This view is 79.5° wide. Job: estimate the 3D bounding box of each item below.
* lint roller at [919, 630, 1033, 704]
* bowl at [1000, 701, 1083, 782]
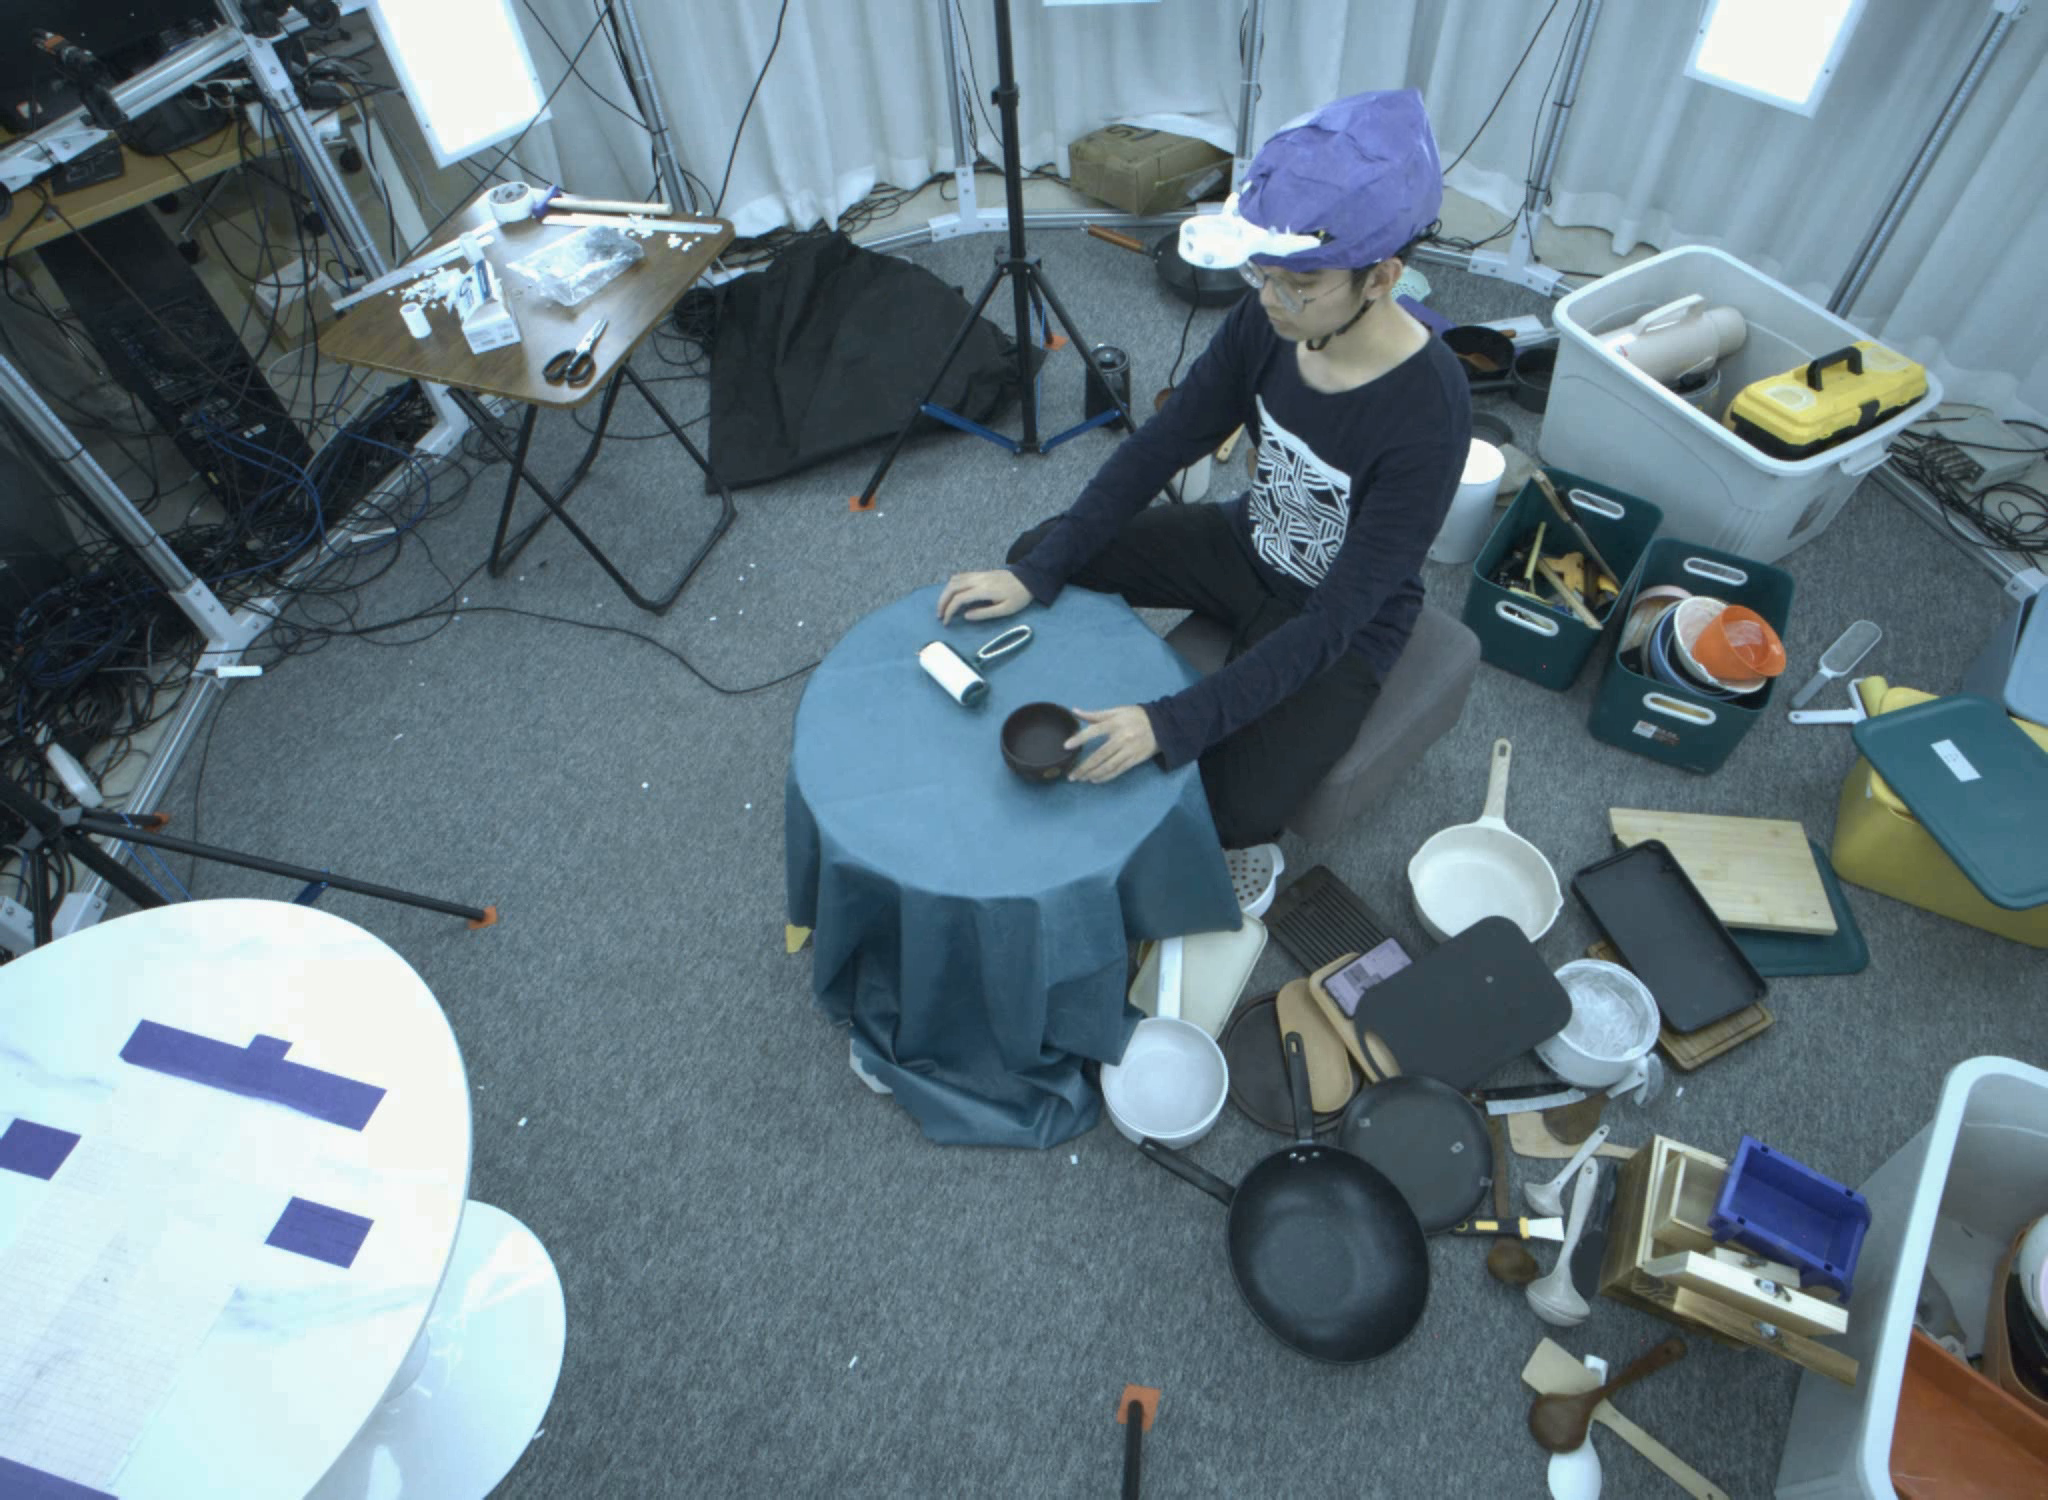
[{"bbox_3d":[-0.058,-0.151,1.879,0.182,0.049,0.132,-34,60,-24],"label":"lint roller"},{"bbox_3d":[0.025,-0.004,1.752,0.118,0.070,0.117,0,52,1],"label":"bowl"}]
